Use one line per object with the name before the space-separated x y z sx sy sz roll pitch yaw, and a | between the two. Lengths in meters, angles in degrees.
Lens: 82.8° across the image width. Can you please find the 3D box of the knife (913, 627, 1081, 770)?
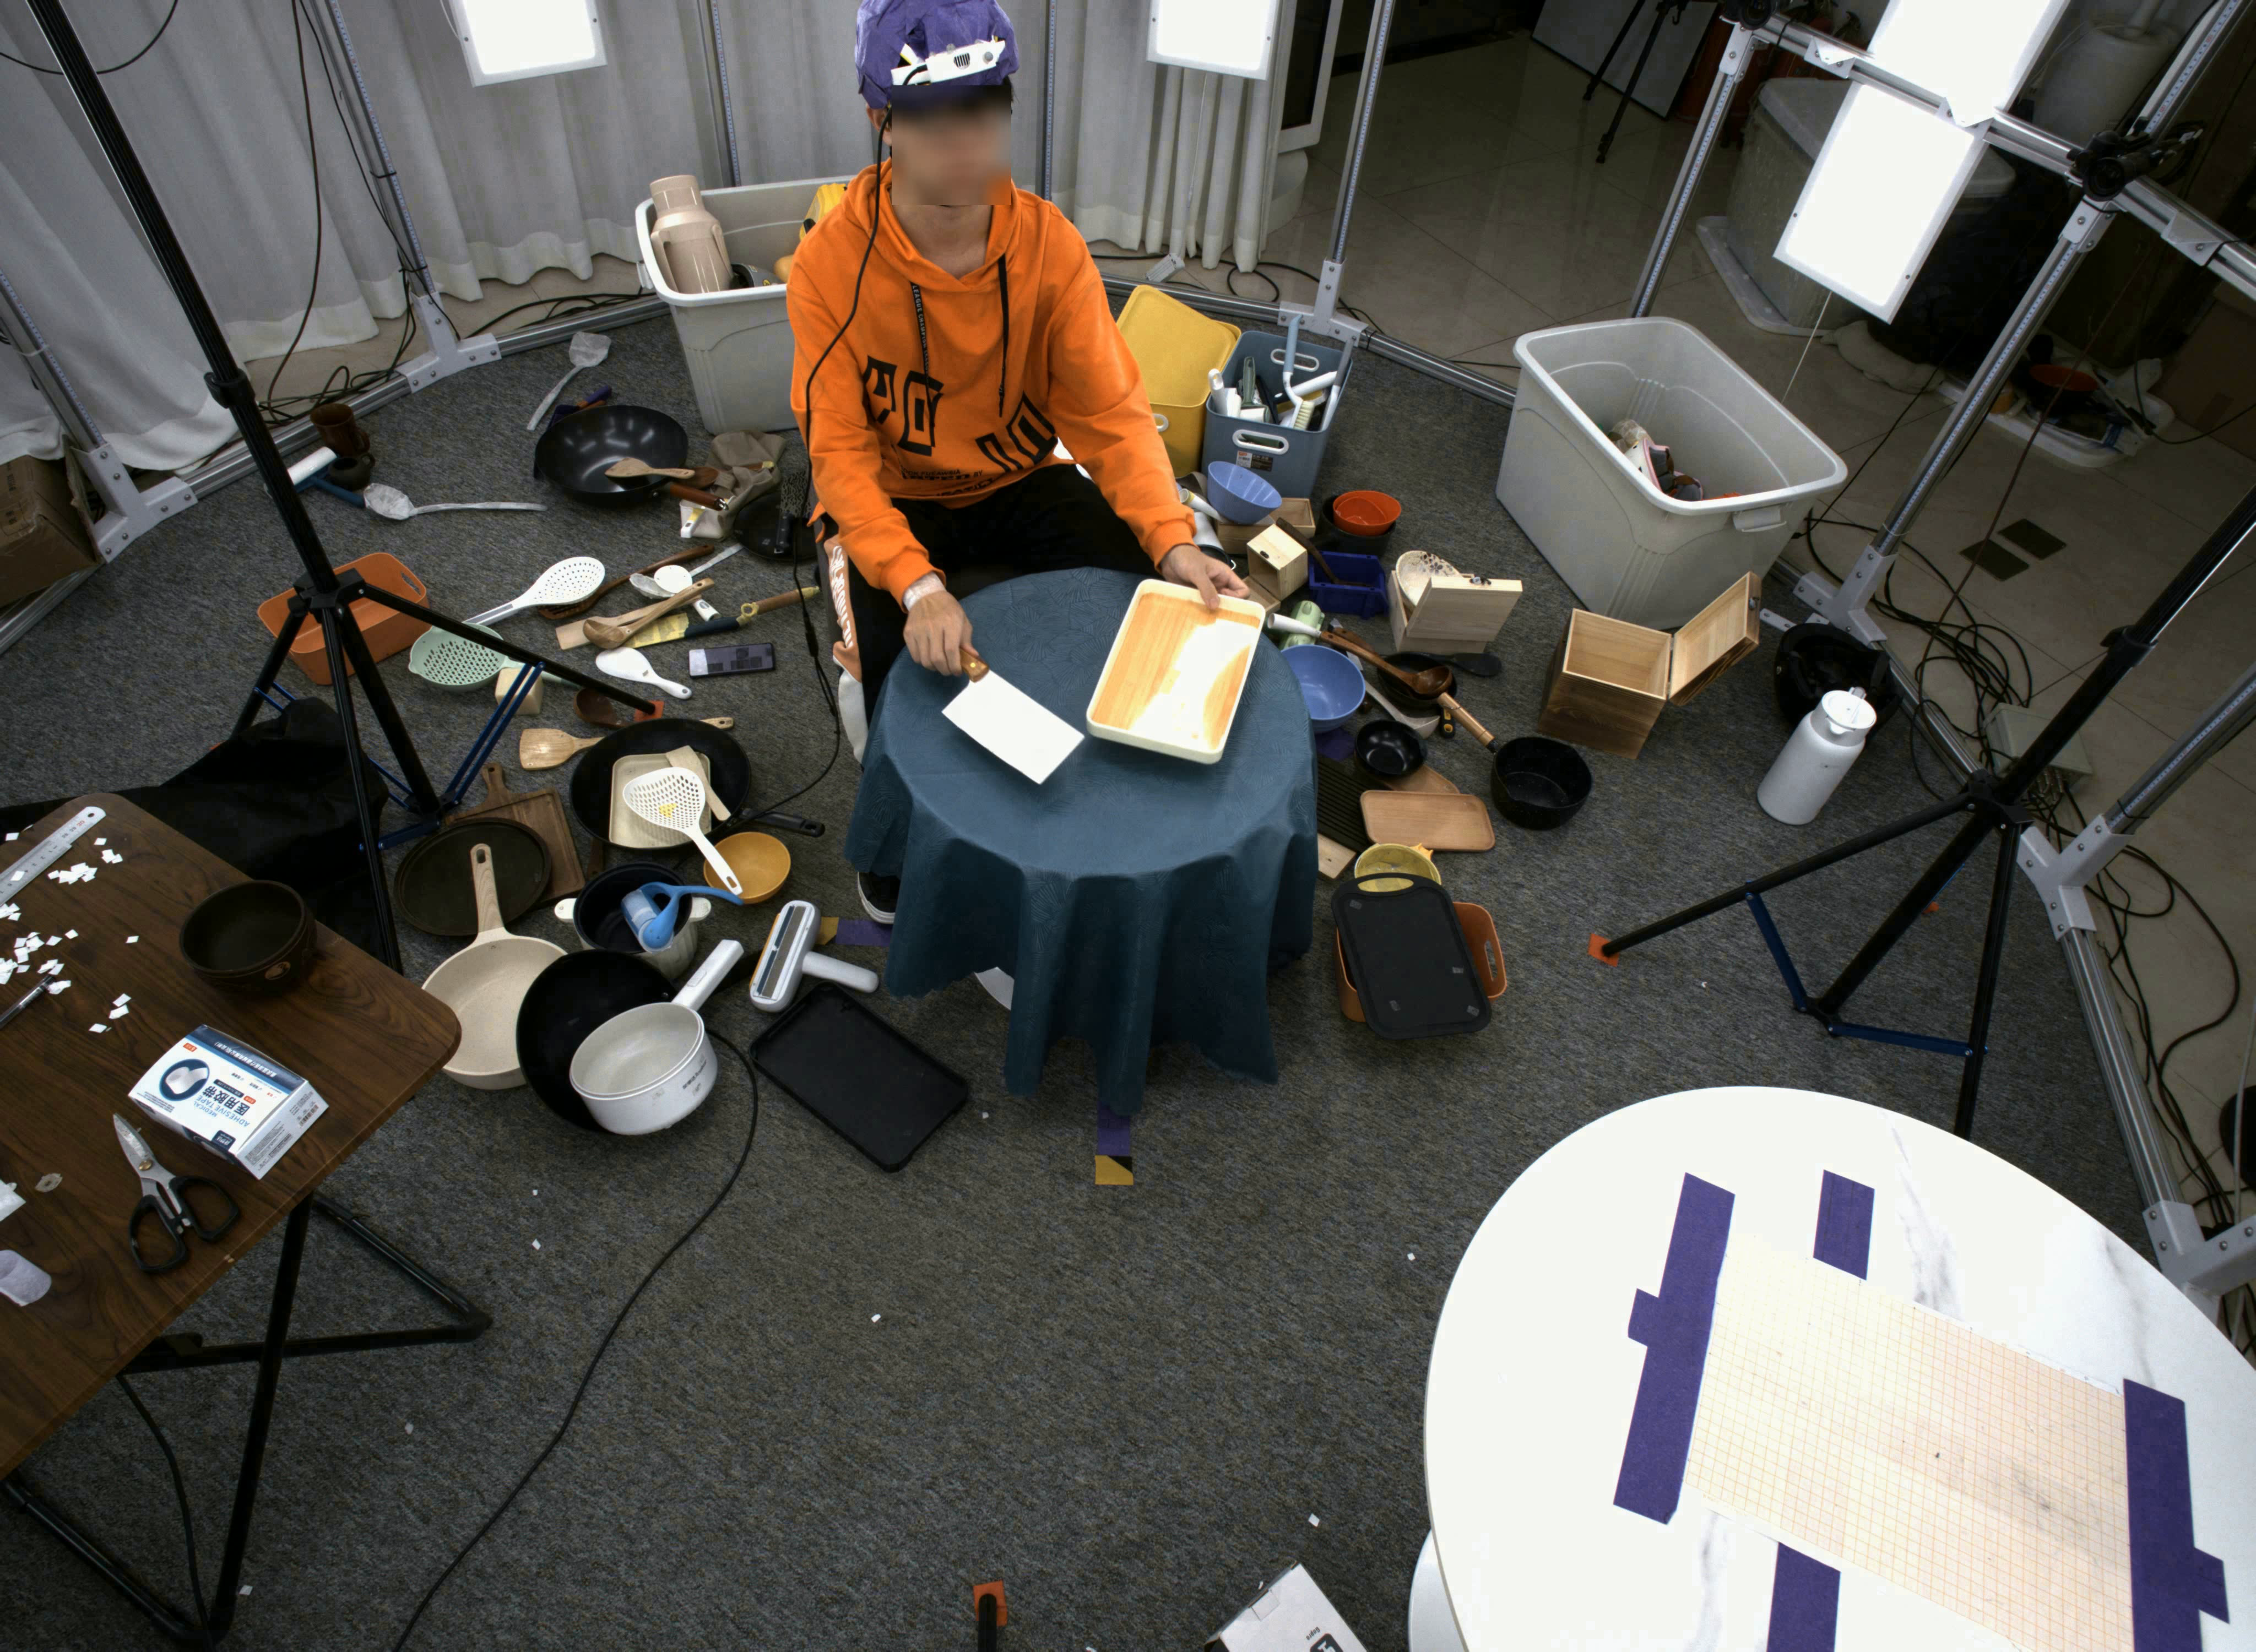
knife | -0.197 -0.170 1.731 0.310 0.020 0.093 36 75 27

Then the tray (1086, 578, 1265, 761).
tray | 0.071 -0.224 1.790 0.192 0.027 0.307 13 52 9
